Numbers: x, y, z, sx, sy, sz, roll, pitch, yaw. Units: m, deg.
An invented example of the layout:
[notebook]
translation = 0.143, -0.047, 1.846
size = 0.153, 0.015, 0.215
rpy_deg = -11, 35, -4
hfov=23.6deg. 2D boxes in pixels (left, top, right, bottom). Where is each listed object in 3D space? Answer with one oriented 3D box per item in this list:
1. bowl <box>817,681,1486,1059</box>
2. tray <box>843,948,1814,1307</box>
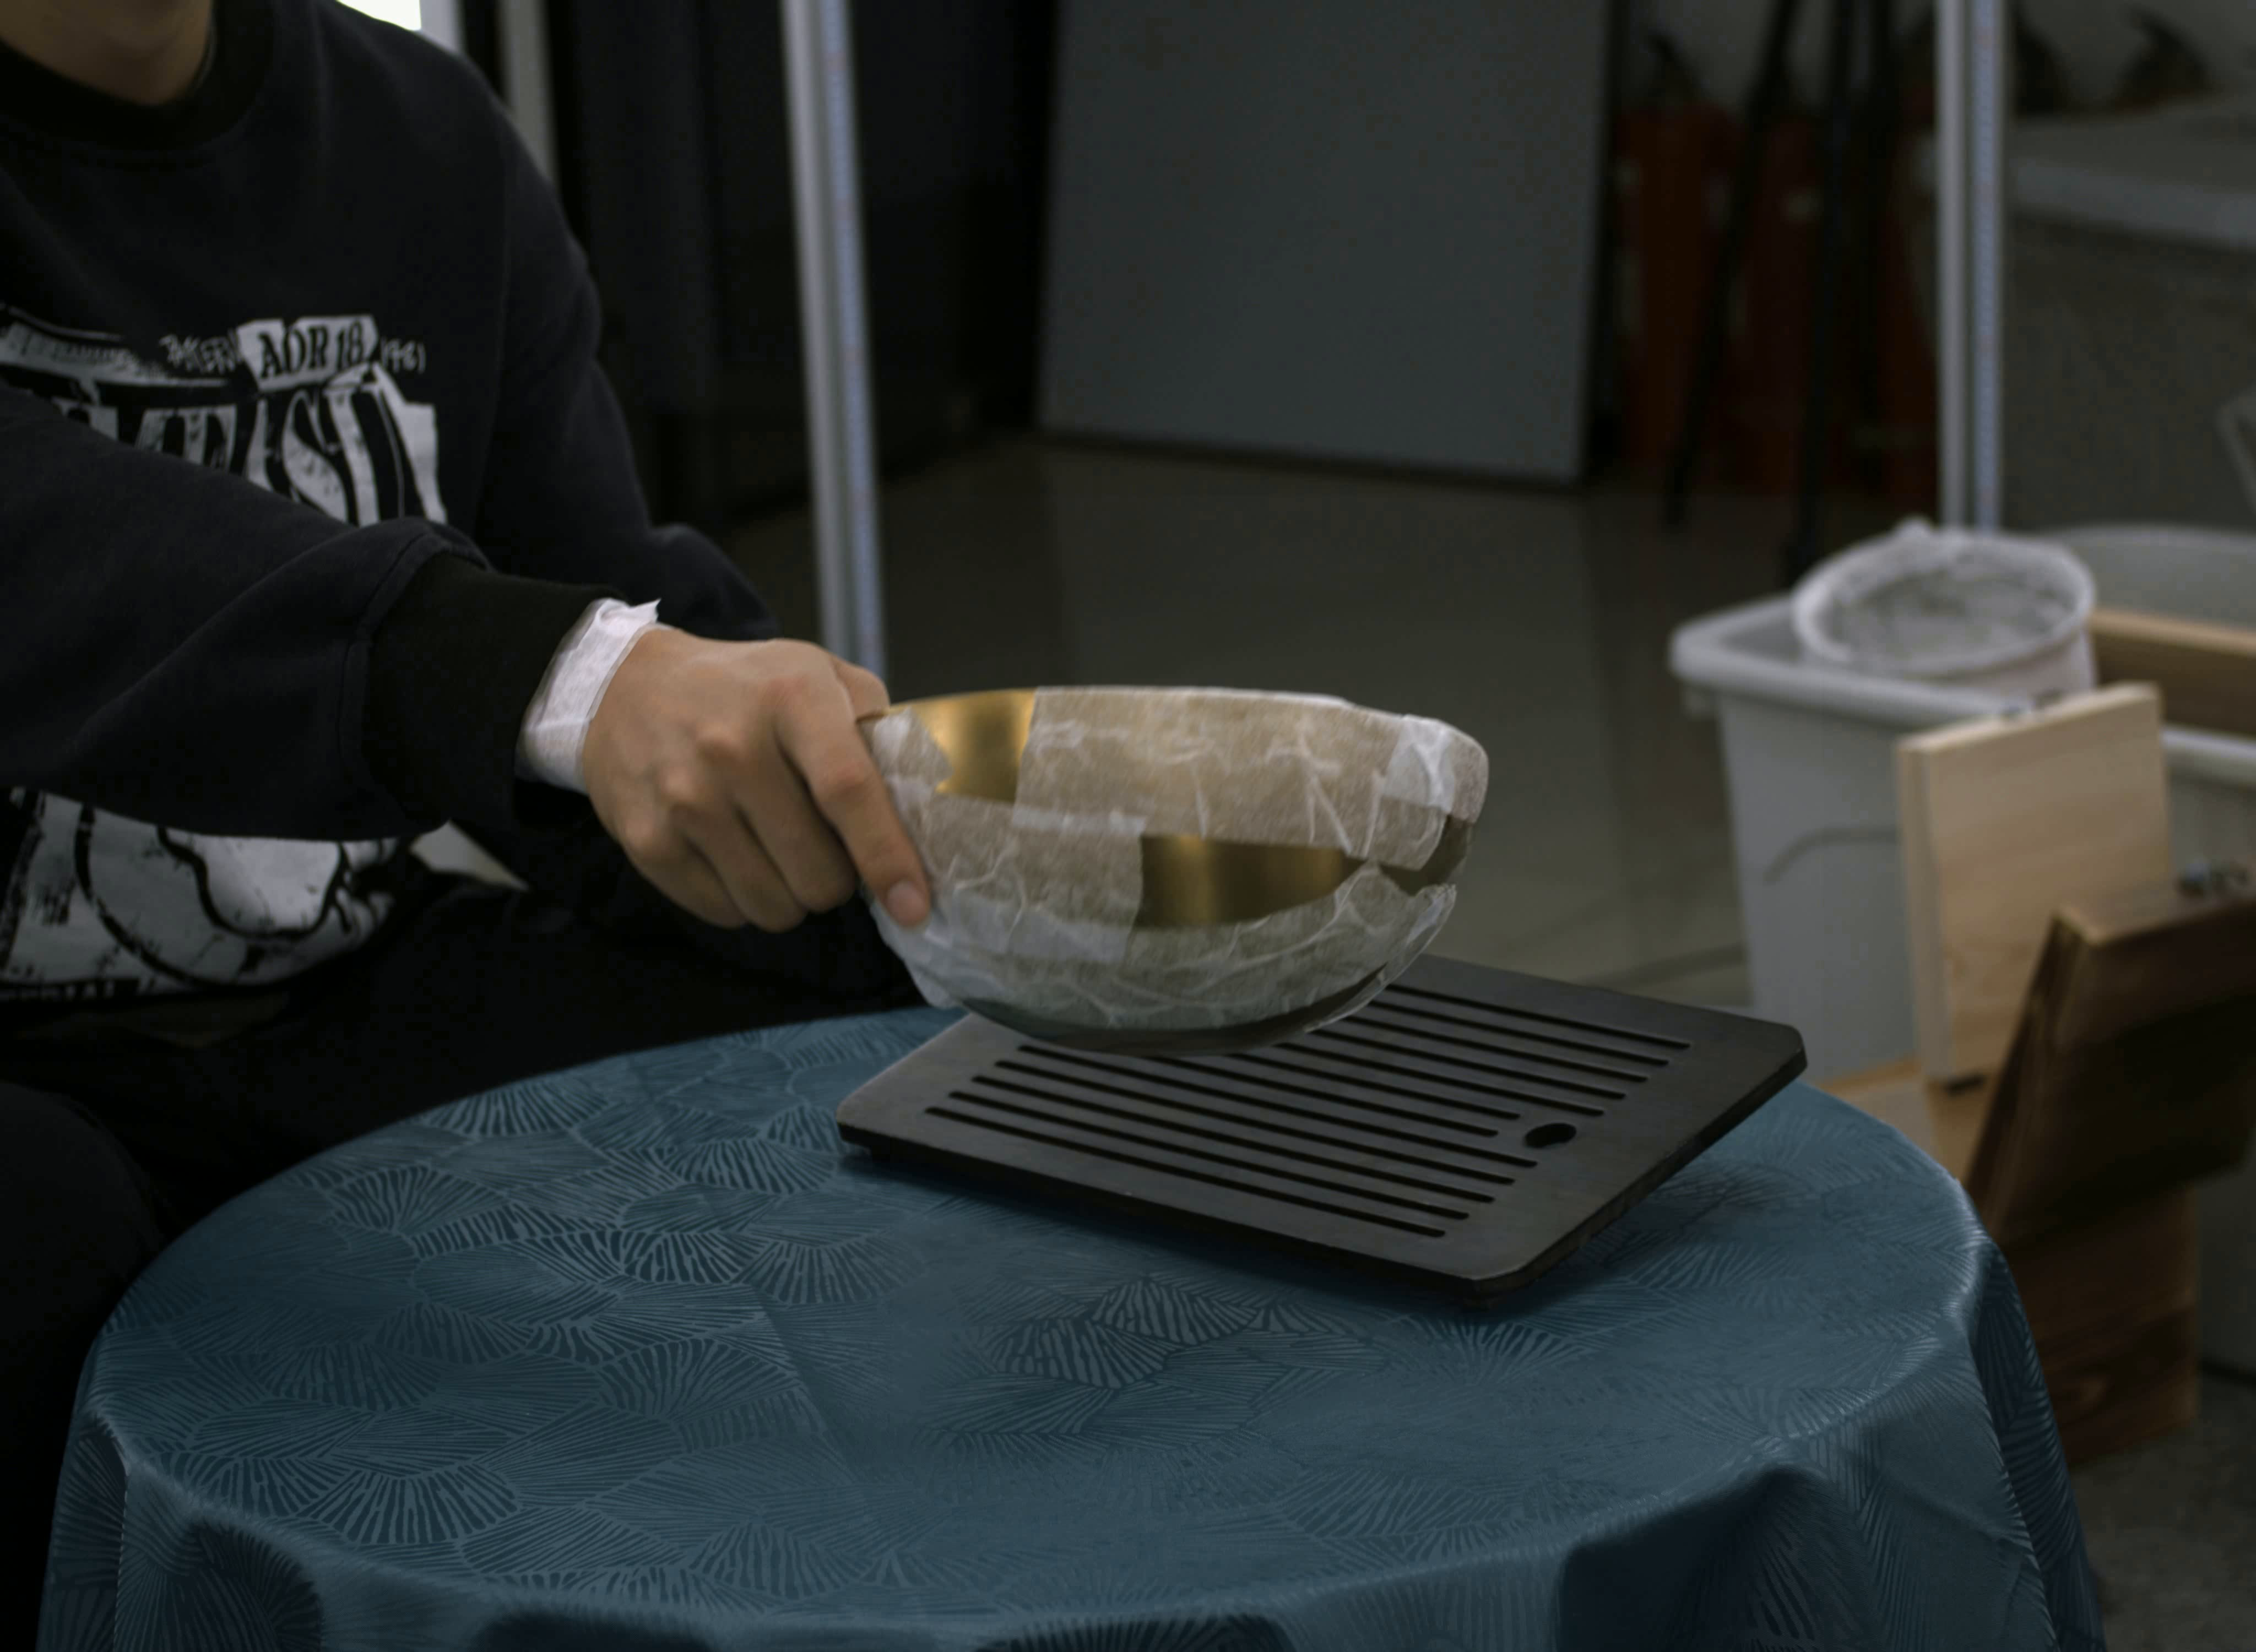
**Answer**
[bowl]
translation = 0.007, 0.020, 1.619
size = 0.212, 0.096, 0.215
rpy_deg = 1, -9, -1
[tray]
translation = 0.062, 0.089, 1.773
size = 0.309, 0.019, 0.167
rpy_deg = 10, 33, 44
